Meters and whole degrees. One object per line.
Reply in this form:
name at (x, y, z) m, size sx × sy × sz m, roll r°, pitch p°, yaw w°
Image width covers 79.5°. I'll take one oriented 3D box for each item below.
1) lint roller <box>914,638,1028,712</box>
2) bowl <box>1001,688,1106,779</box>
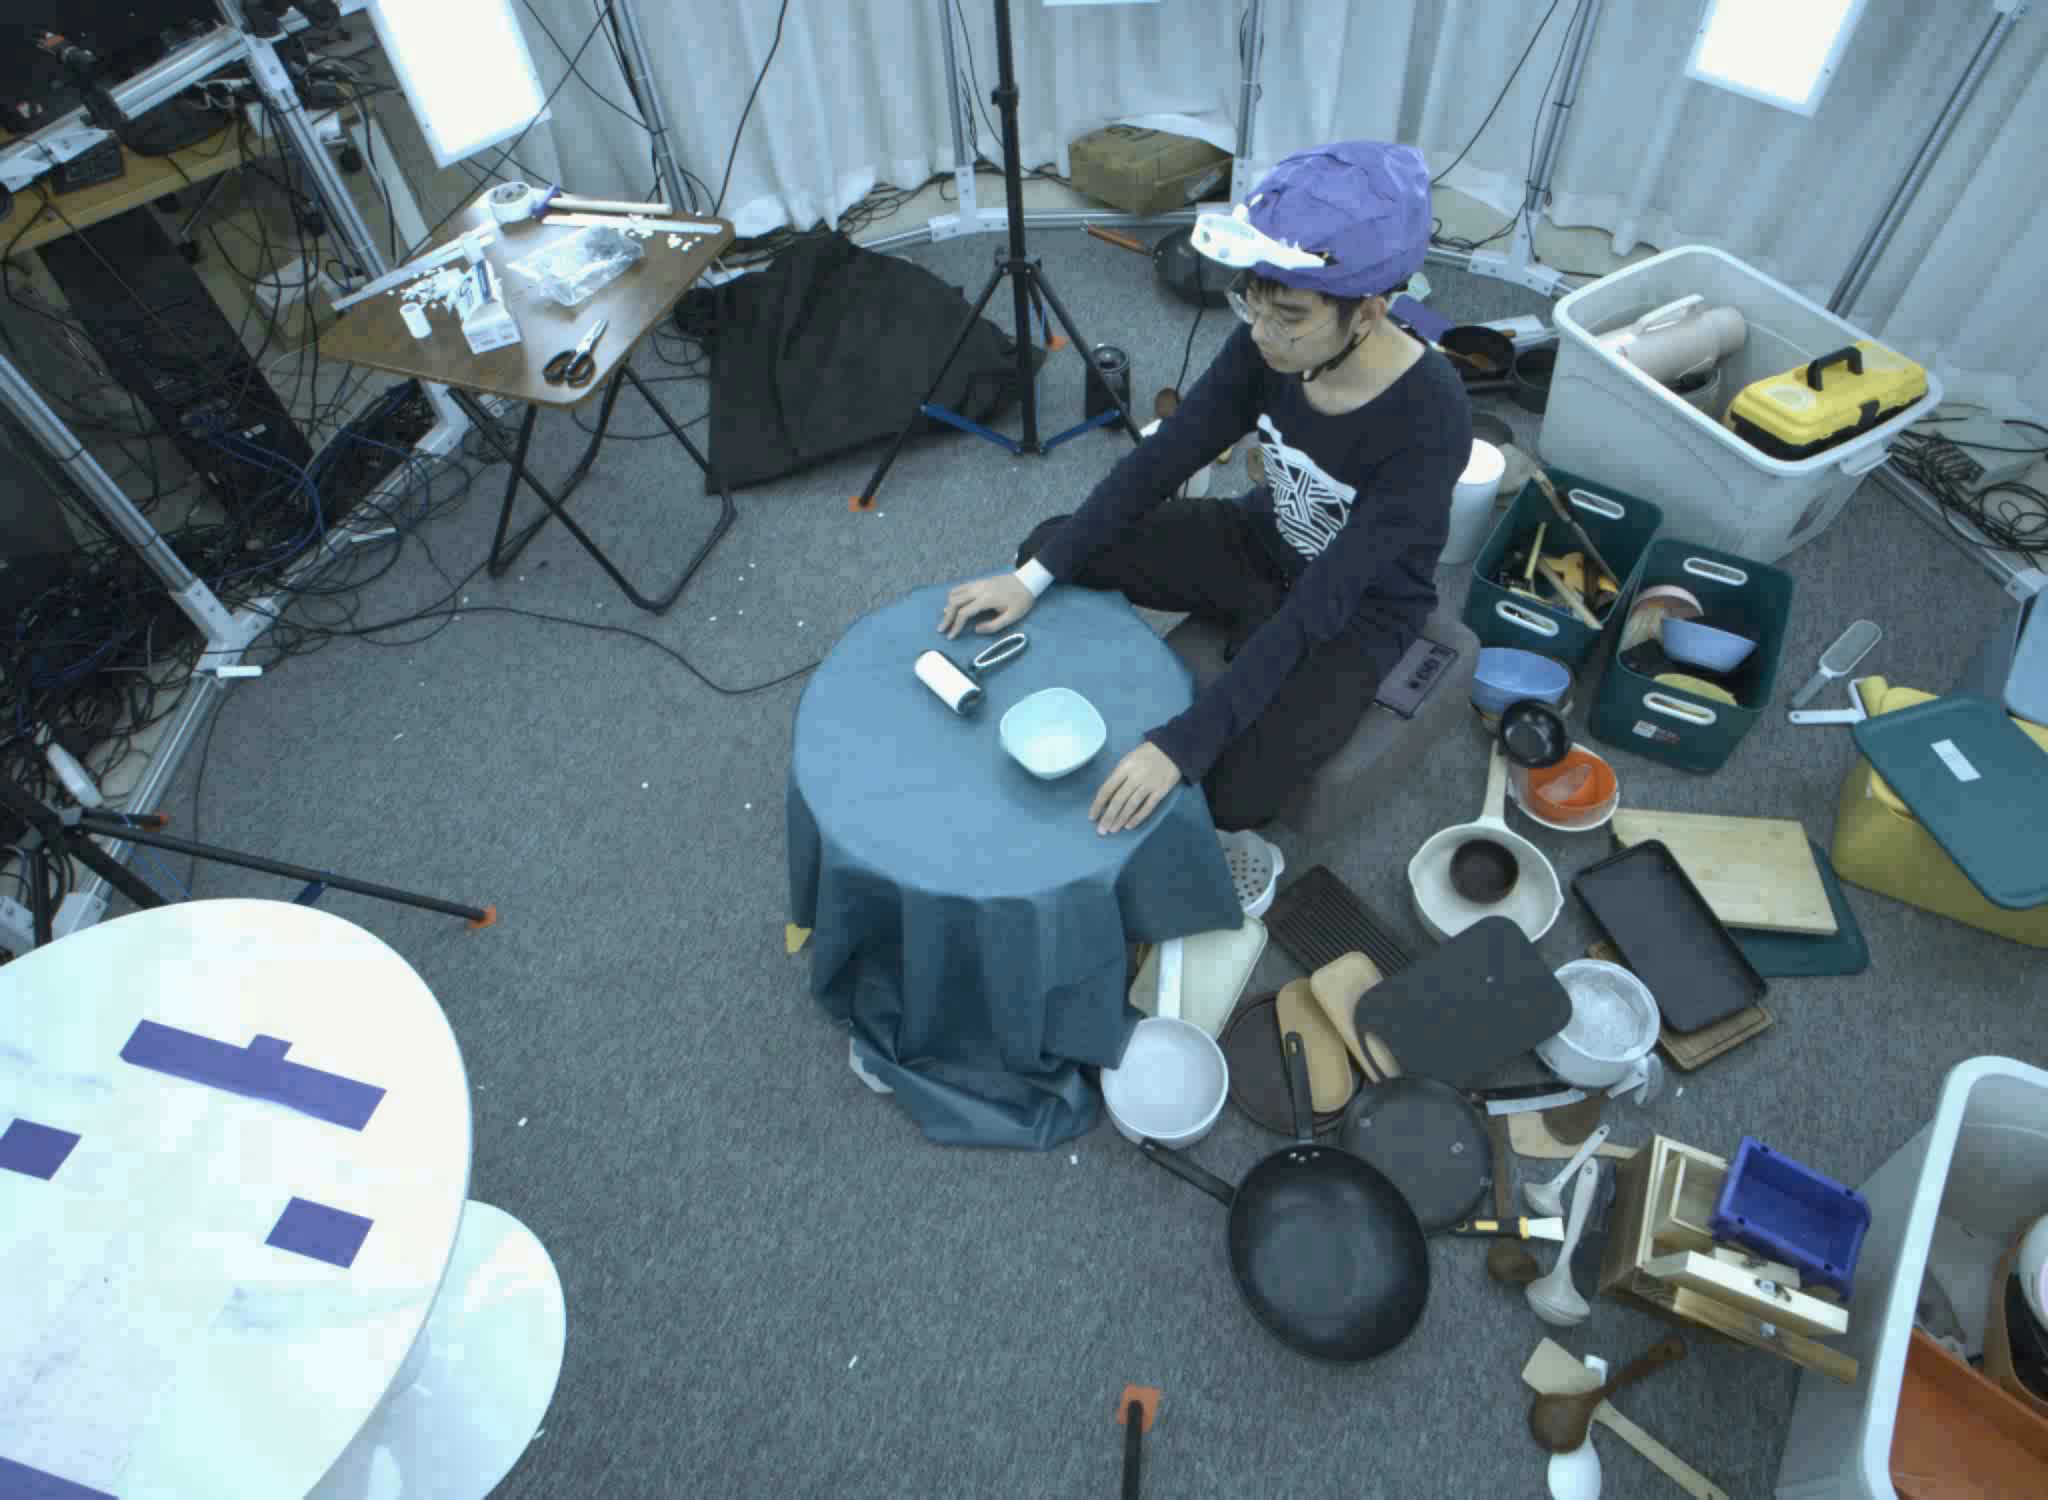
lint roller at (-0.065, -0.138, 1.871) m, size 0.182 × 0.049 × 0.132 m, roll -35°, pitch 61°, yaw -25°
bowl at (0.044, -0.013, 1.768) m, size 0.151 × 0.059 × 0.150 m, roll -2°, pitch 55°, yaw 4°
